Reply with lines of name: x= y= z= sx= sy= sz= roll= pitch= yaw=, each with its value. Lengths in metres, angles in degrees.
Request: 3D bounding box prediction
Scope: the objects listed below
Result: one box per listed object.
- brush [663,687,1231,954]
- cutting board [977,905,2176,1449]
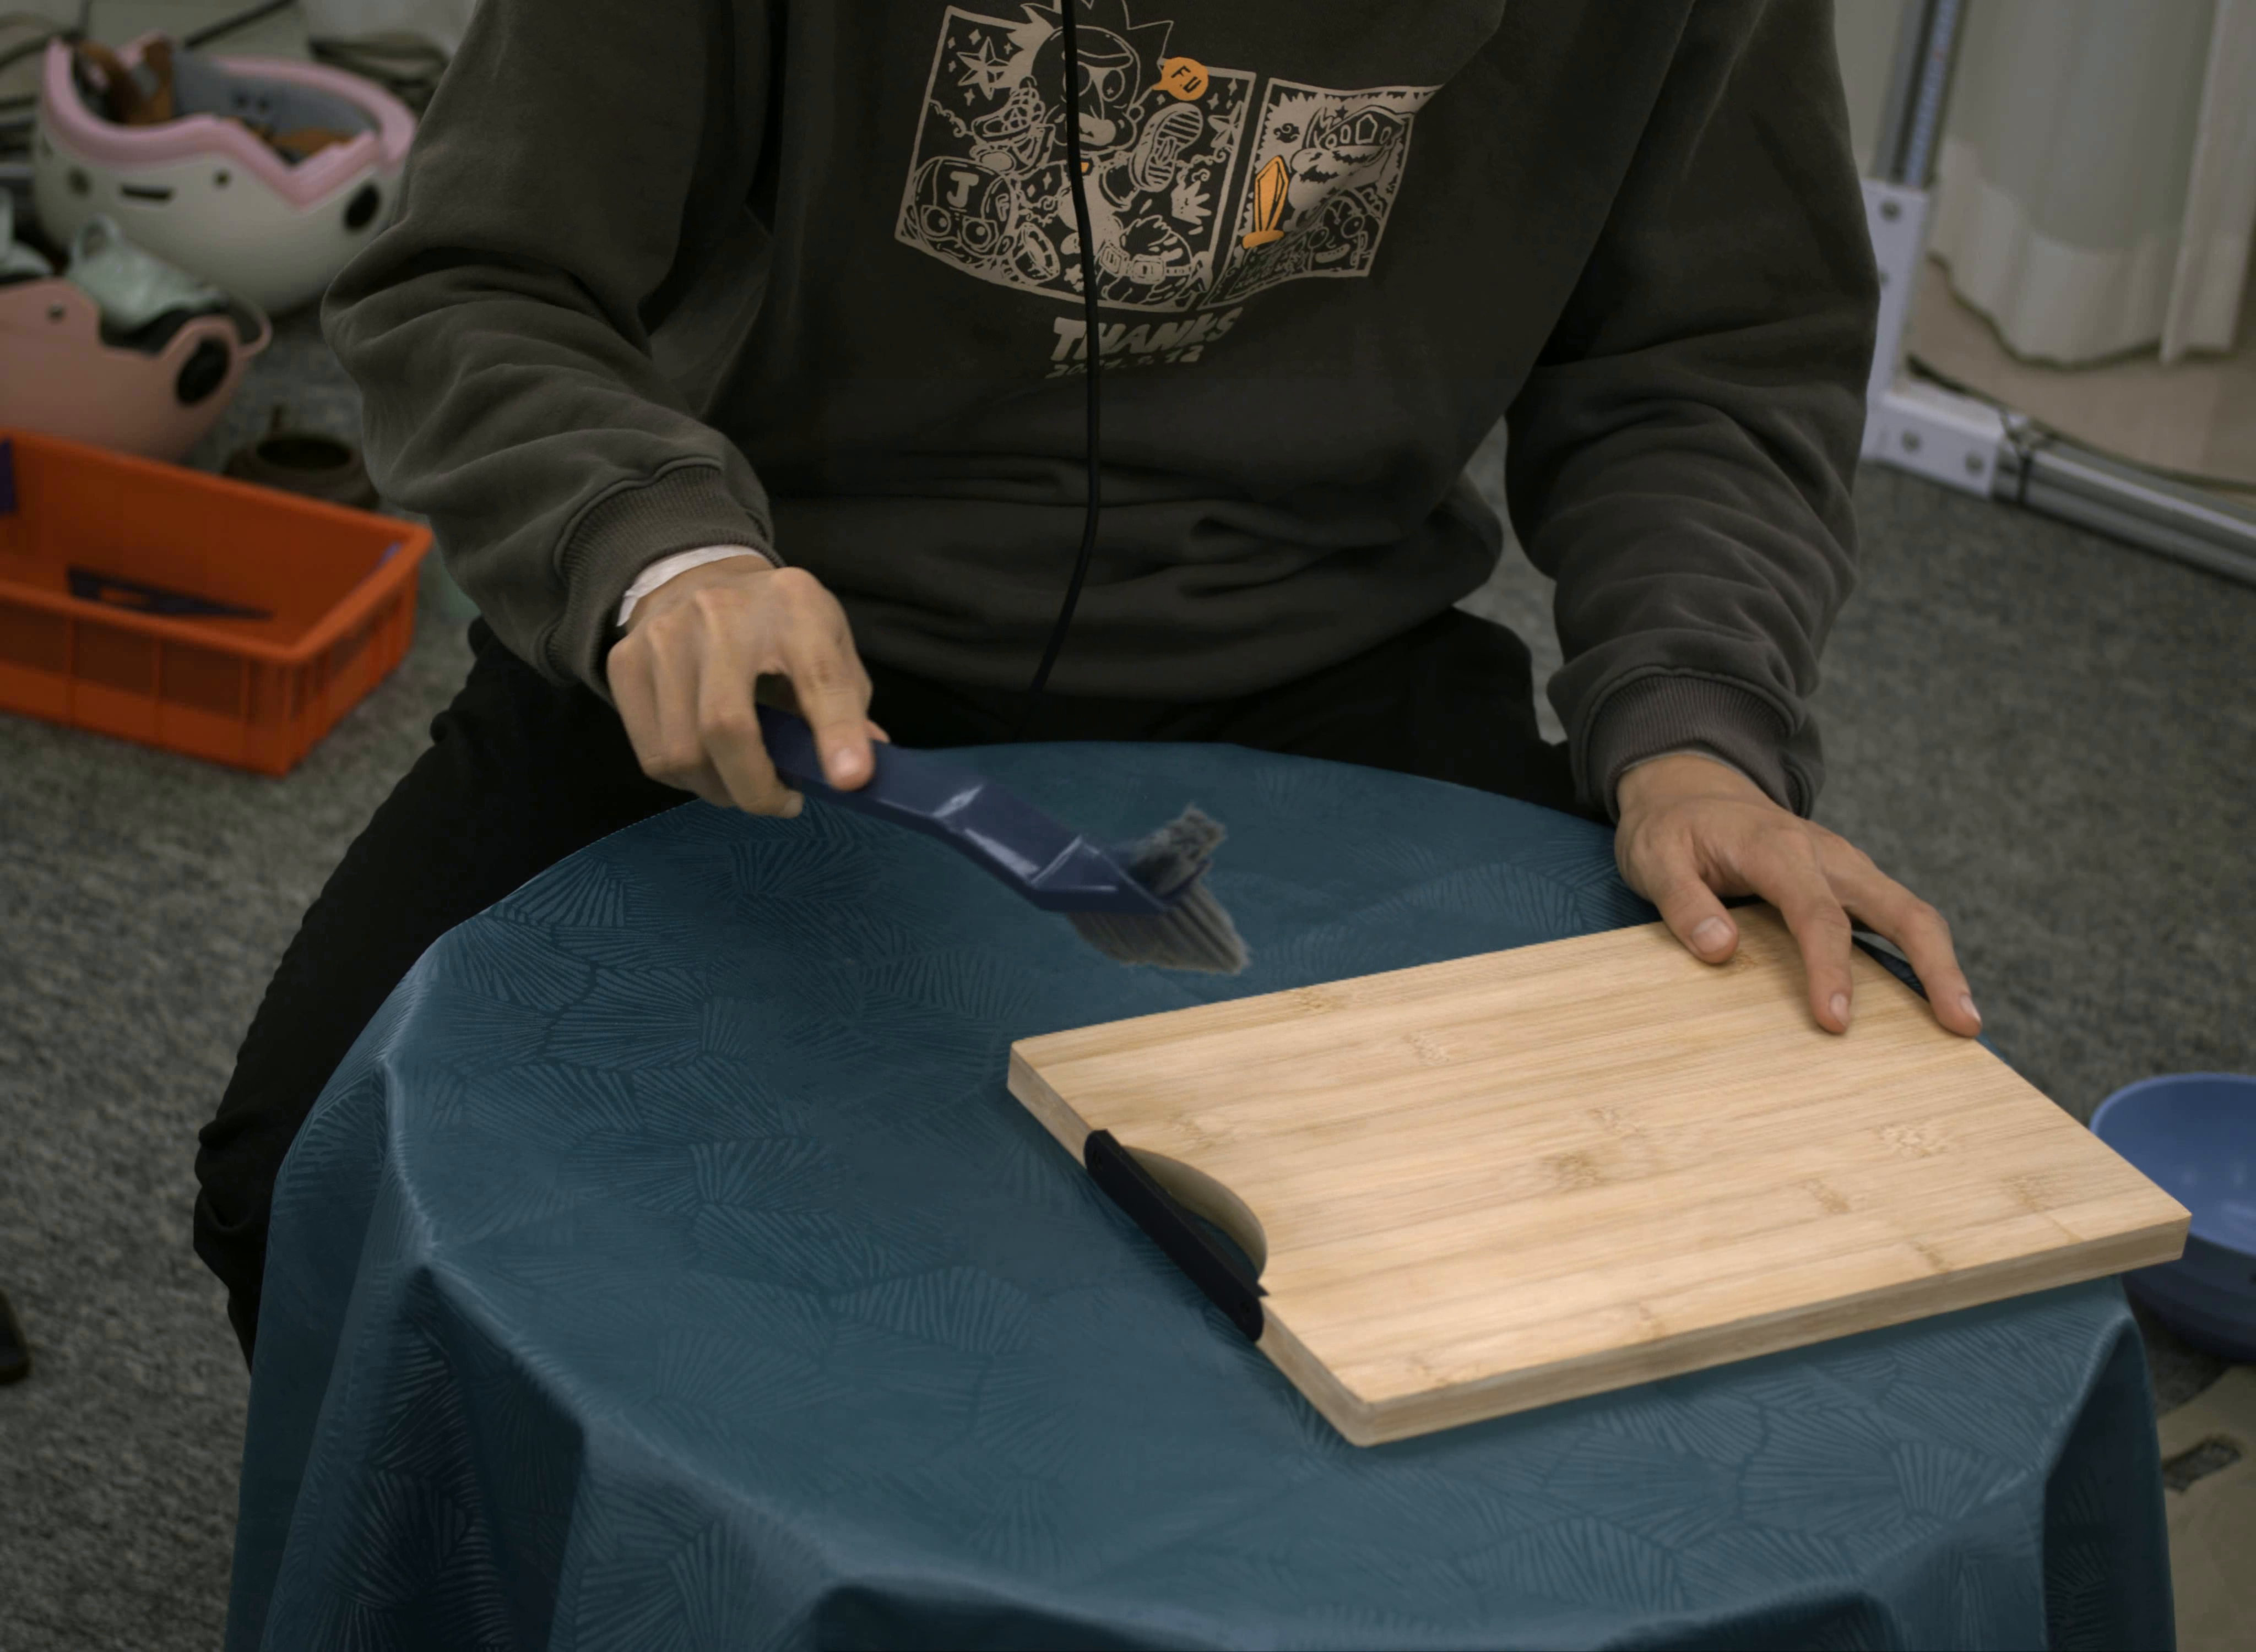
brush: x=-0.066 y=-0.015 z=1.758 sx=0.275 sy=0.095 sz=0.033 roll=23 pitch=61 yaw=39
cutting board: x=0.156 y=0.114 z=1.840 sx=0.346 sy=0.023 sz=0.253 roll=-9 pitch=30 yaw=-29
